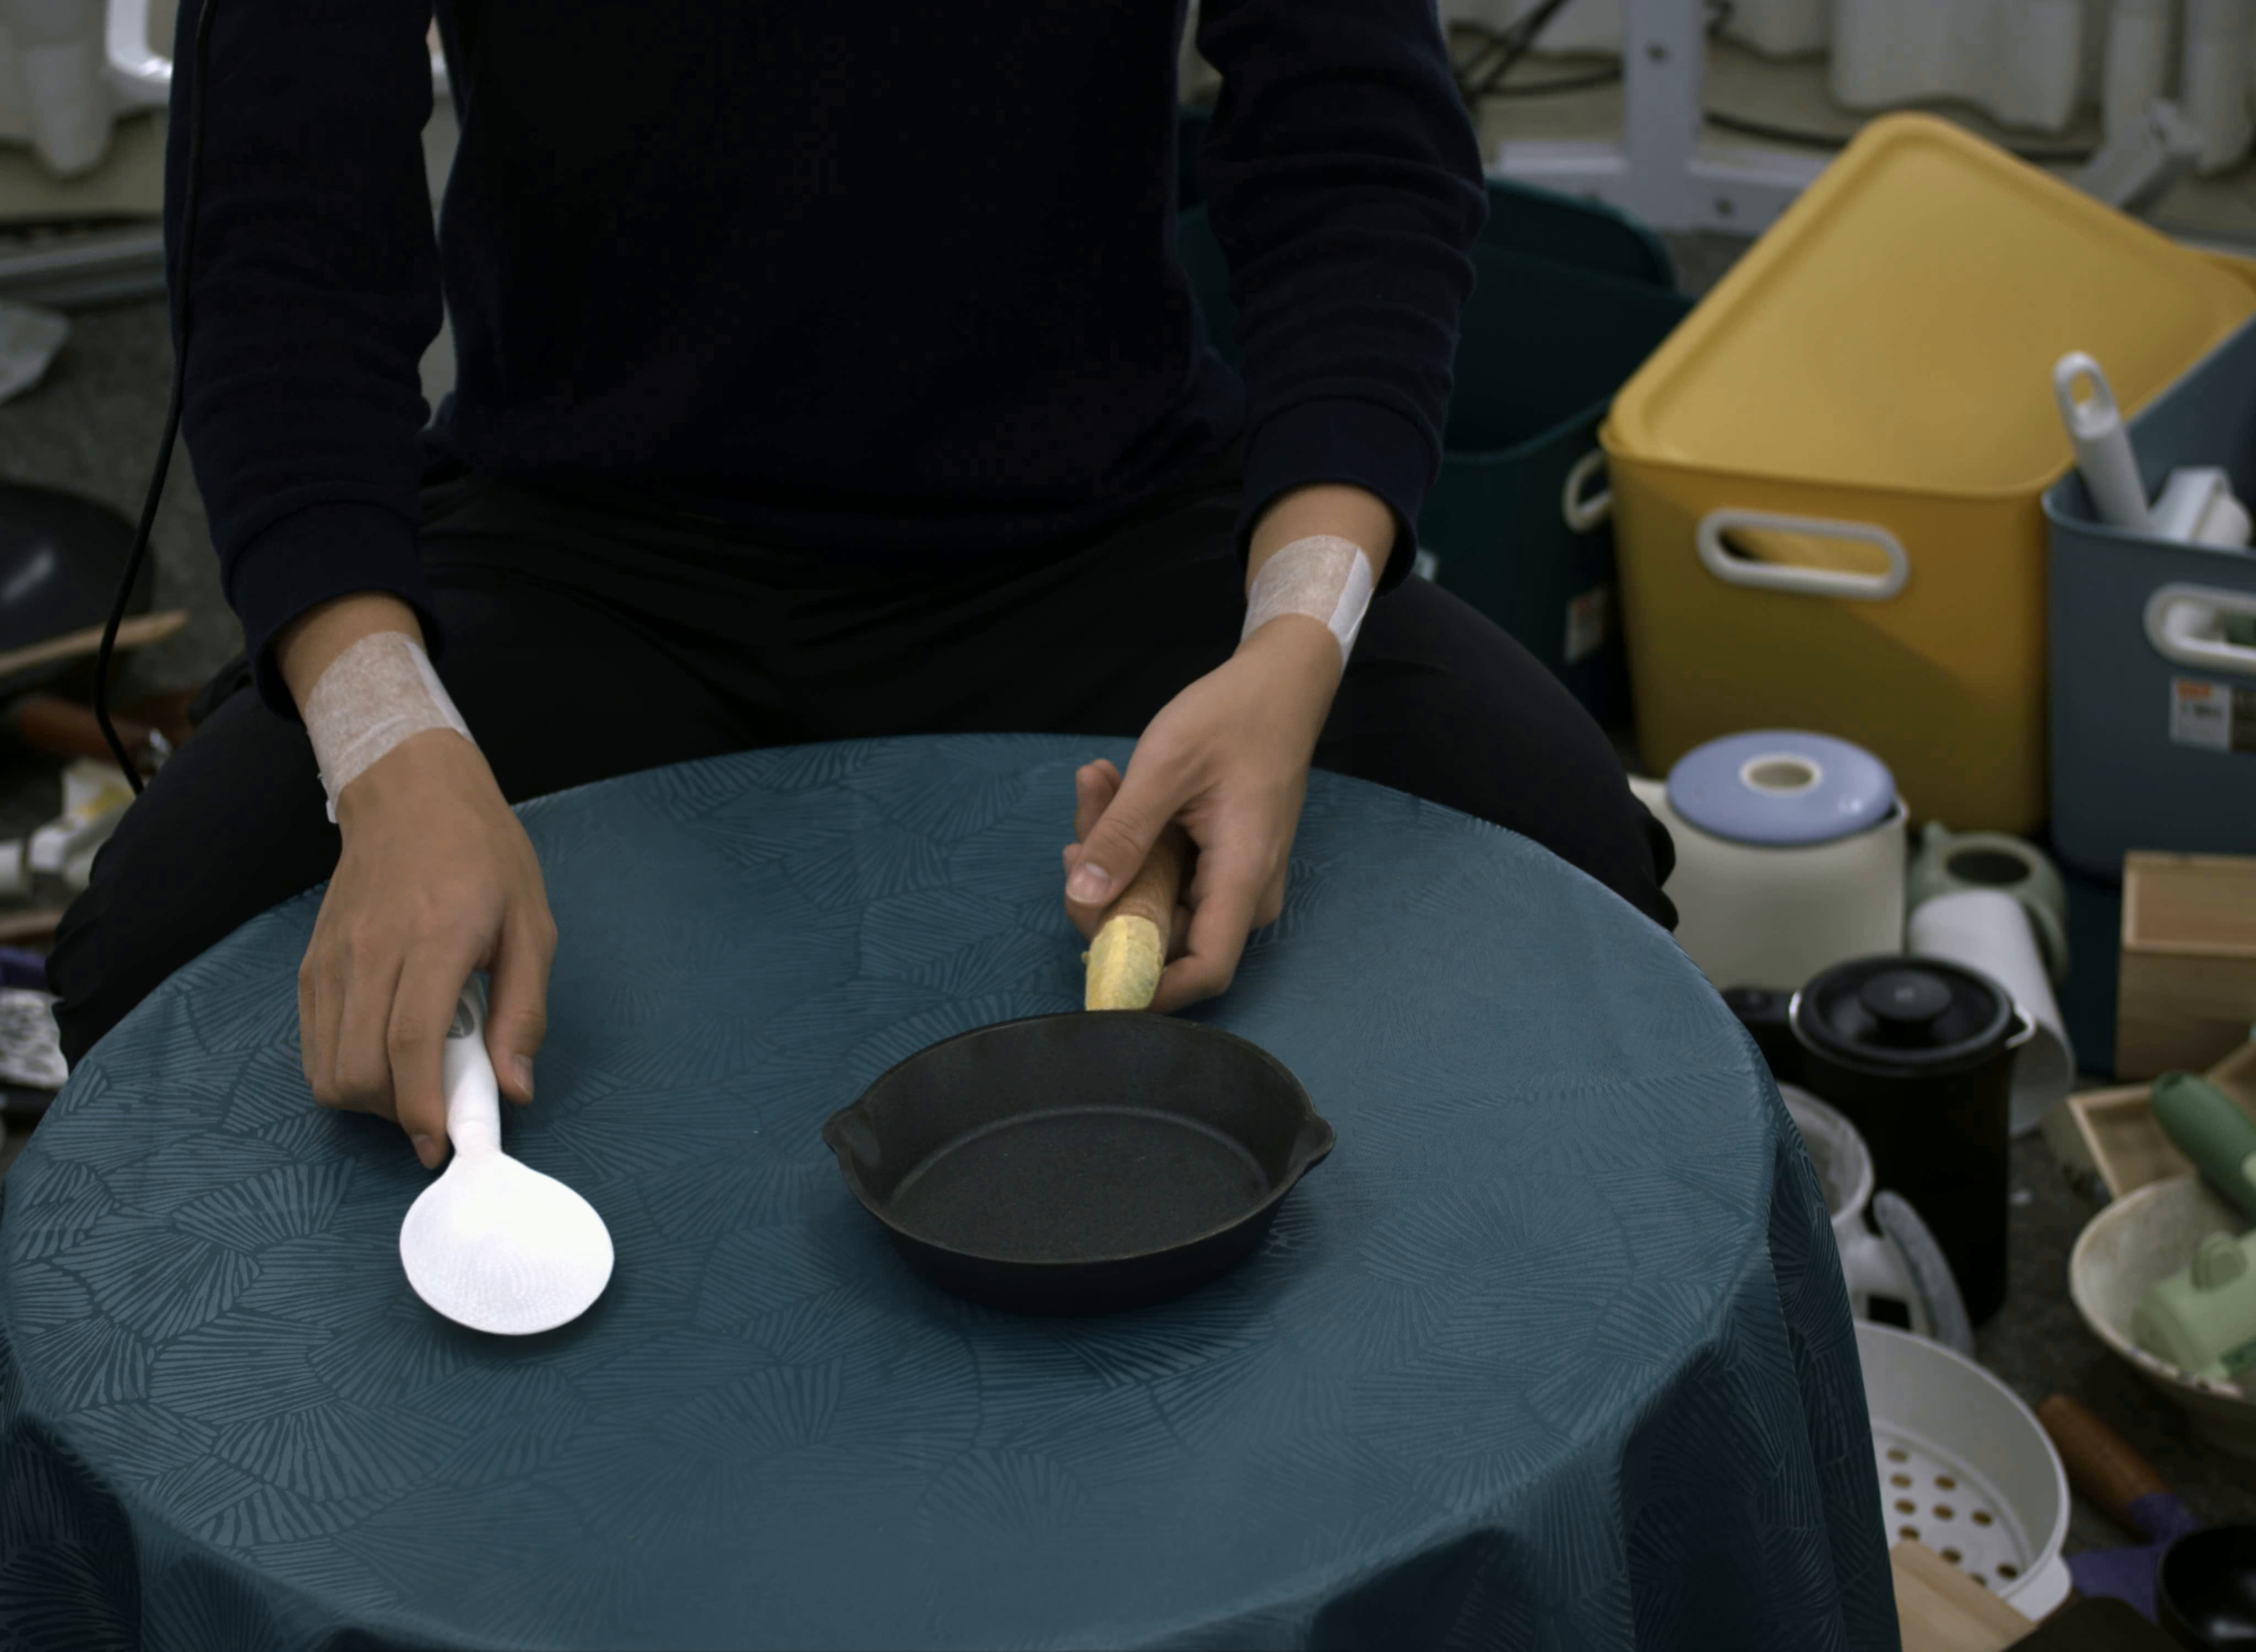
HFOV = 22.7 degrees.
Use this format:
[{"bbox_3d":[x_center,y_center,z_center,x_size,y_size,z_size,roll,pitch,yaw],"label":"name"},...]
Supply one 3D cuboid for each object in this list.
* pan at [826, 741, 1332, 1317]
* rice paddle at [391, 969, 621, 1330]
[{"bbox_3d":[-0.002,0.066,1.915,0.168,0.049,0.330,2,29,10],"label":"pan"},{"bbox_3d":[-0.214,0.110,1.871,0.069,0.029,0.207,-6,29,-14],"label":"rice paddle"}]
